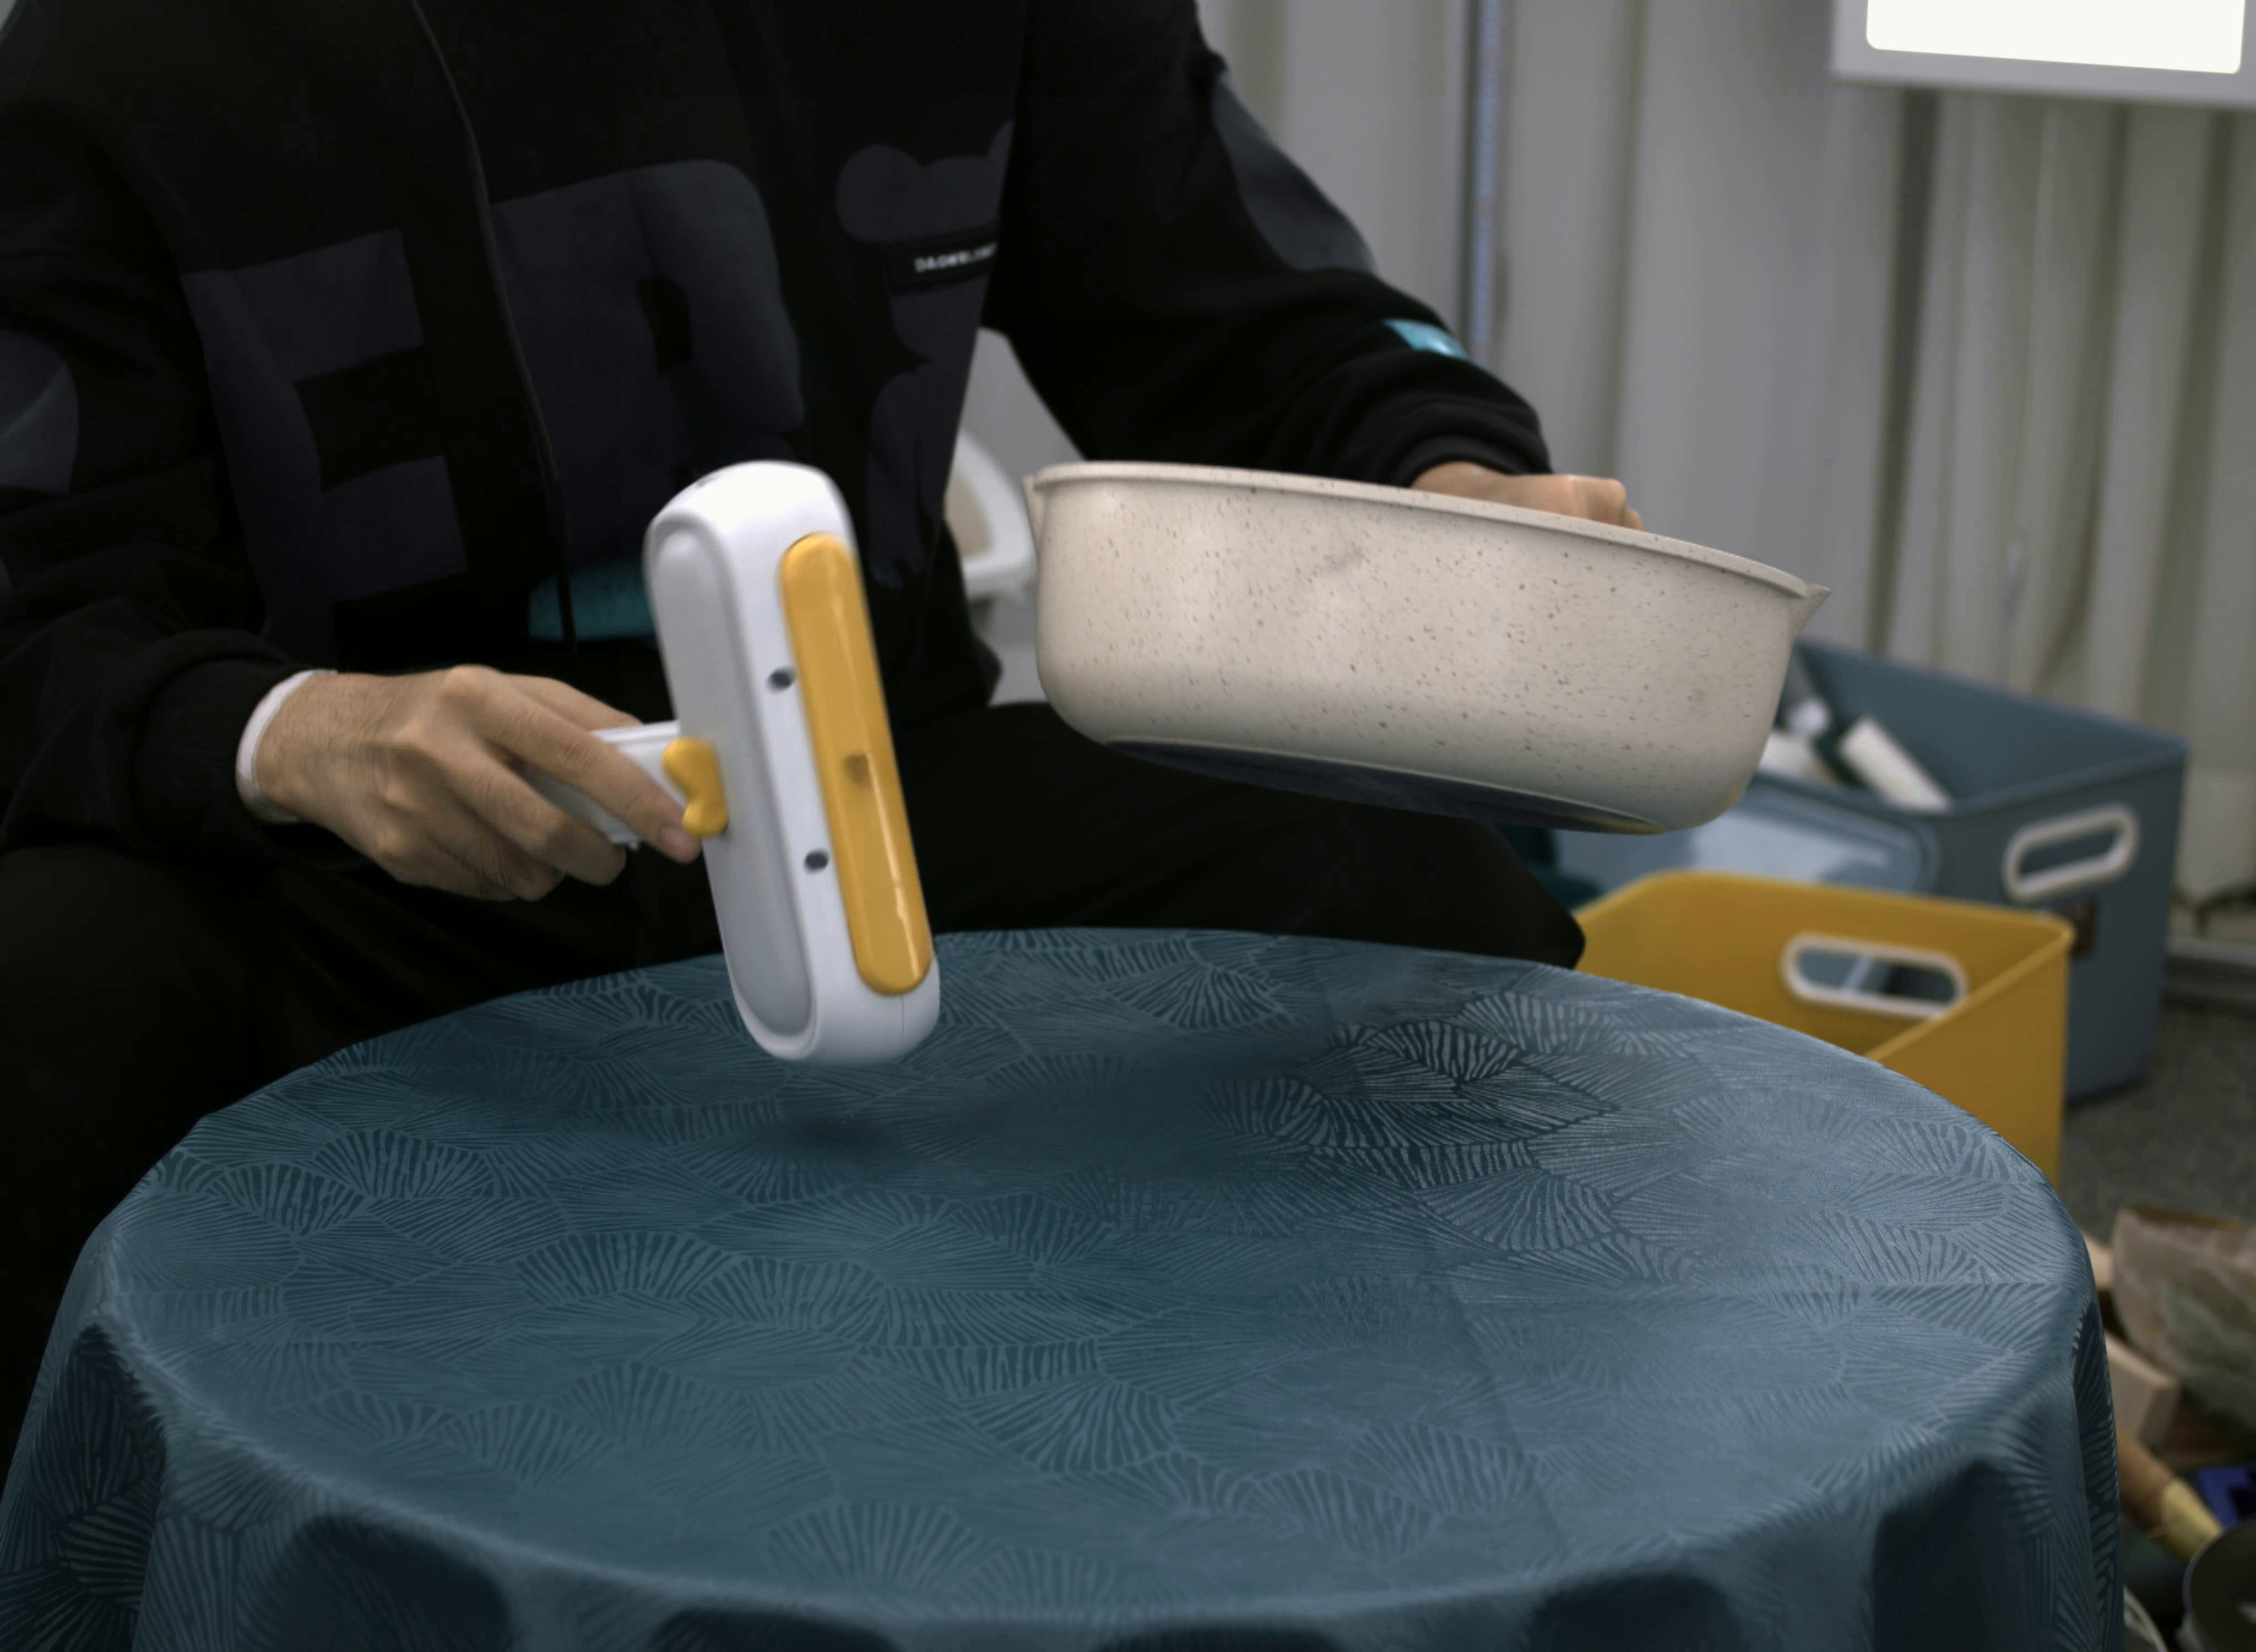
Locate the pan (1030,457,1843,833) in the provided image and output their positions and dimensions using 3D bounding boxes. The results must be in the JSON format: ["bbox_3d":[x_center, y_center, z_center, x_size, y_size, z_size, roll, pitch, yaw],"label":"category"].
[{"bbox_3d":[0.112,-0.052,1.763,0.261,0.102,0.437,6,-4,13],"label":"pan"}]

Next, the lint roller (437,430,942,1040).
[{"bbox_3d":[-0.147,-0.019,1.684,0.074,0.194,0.190,-21,7,-41],"label":"lint roller"}]
